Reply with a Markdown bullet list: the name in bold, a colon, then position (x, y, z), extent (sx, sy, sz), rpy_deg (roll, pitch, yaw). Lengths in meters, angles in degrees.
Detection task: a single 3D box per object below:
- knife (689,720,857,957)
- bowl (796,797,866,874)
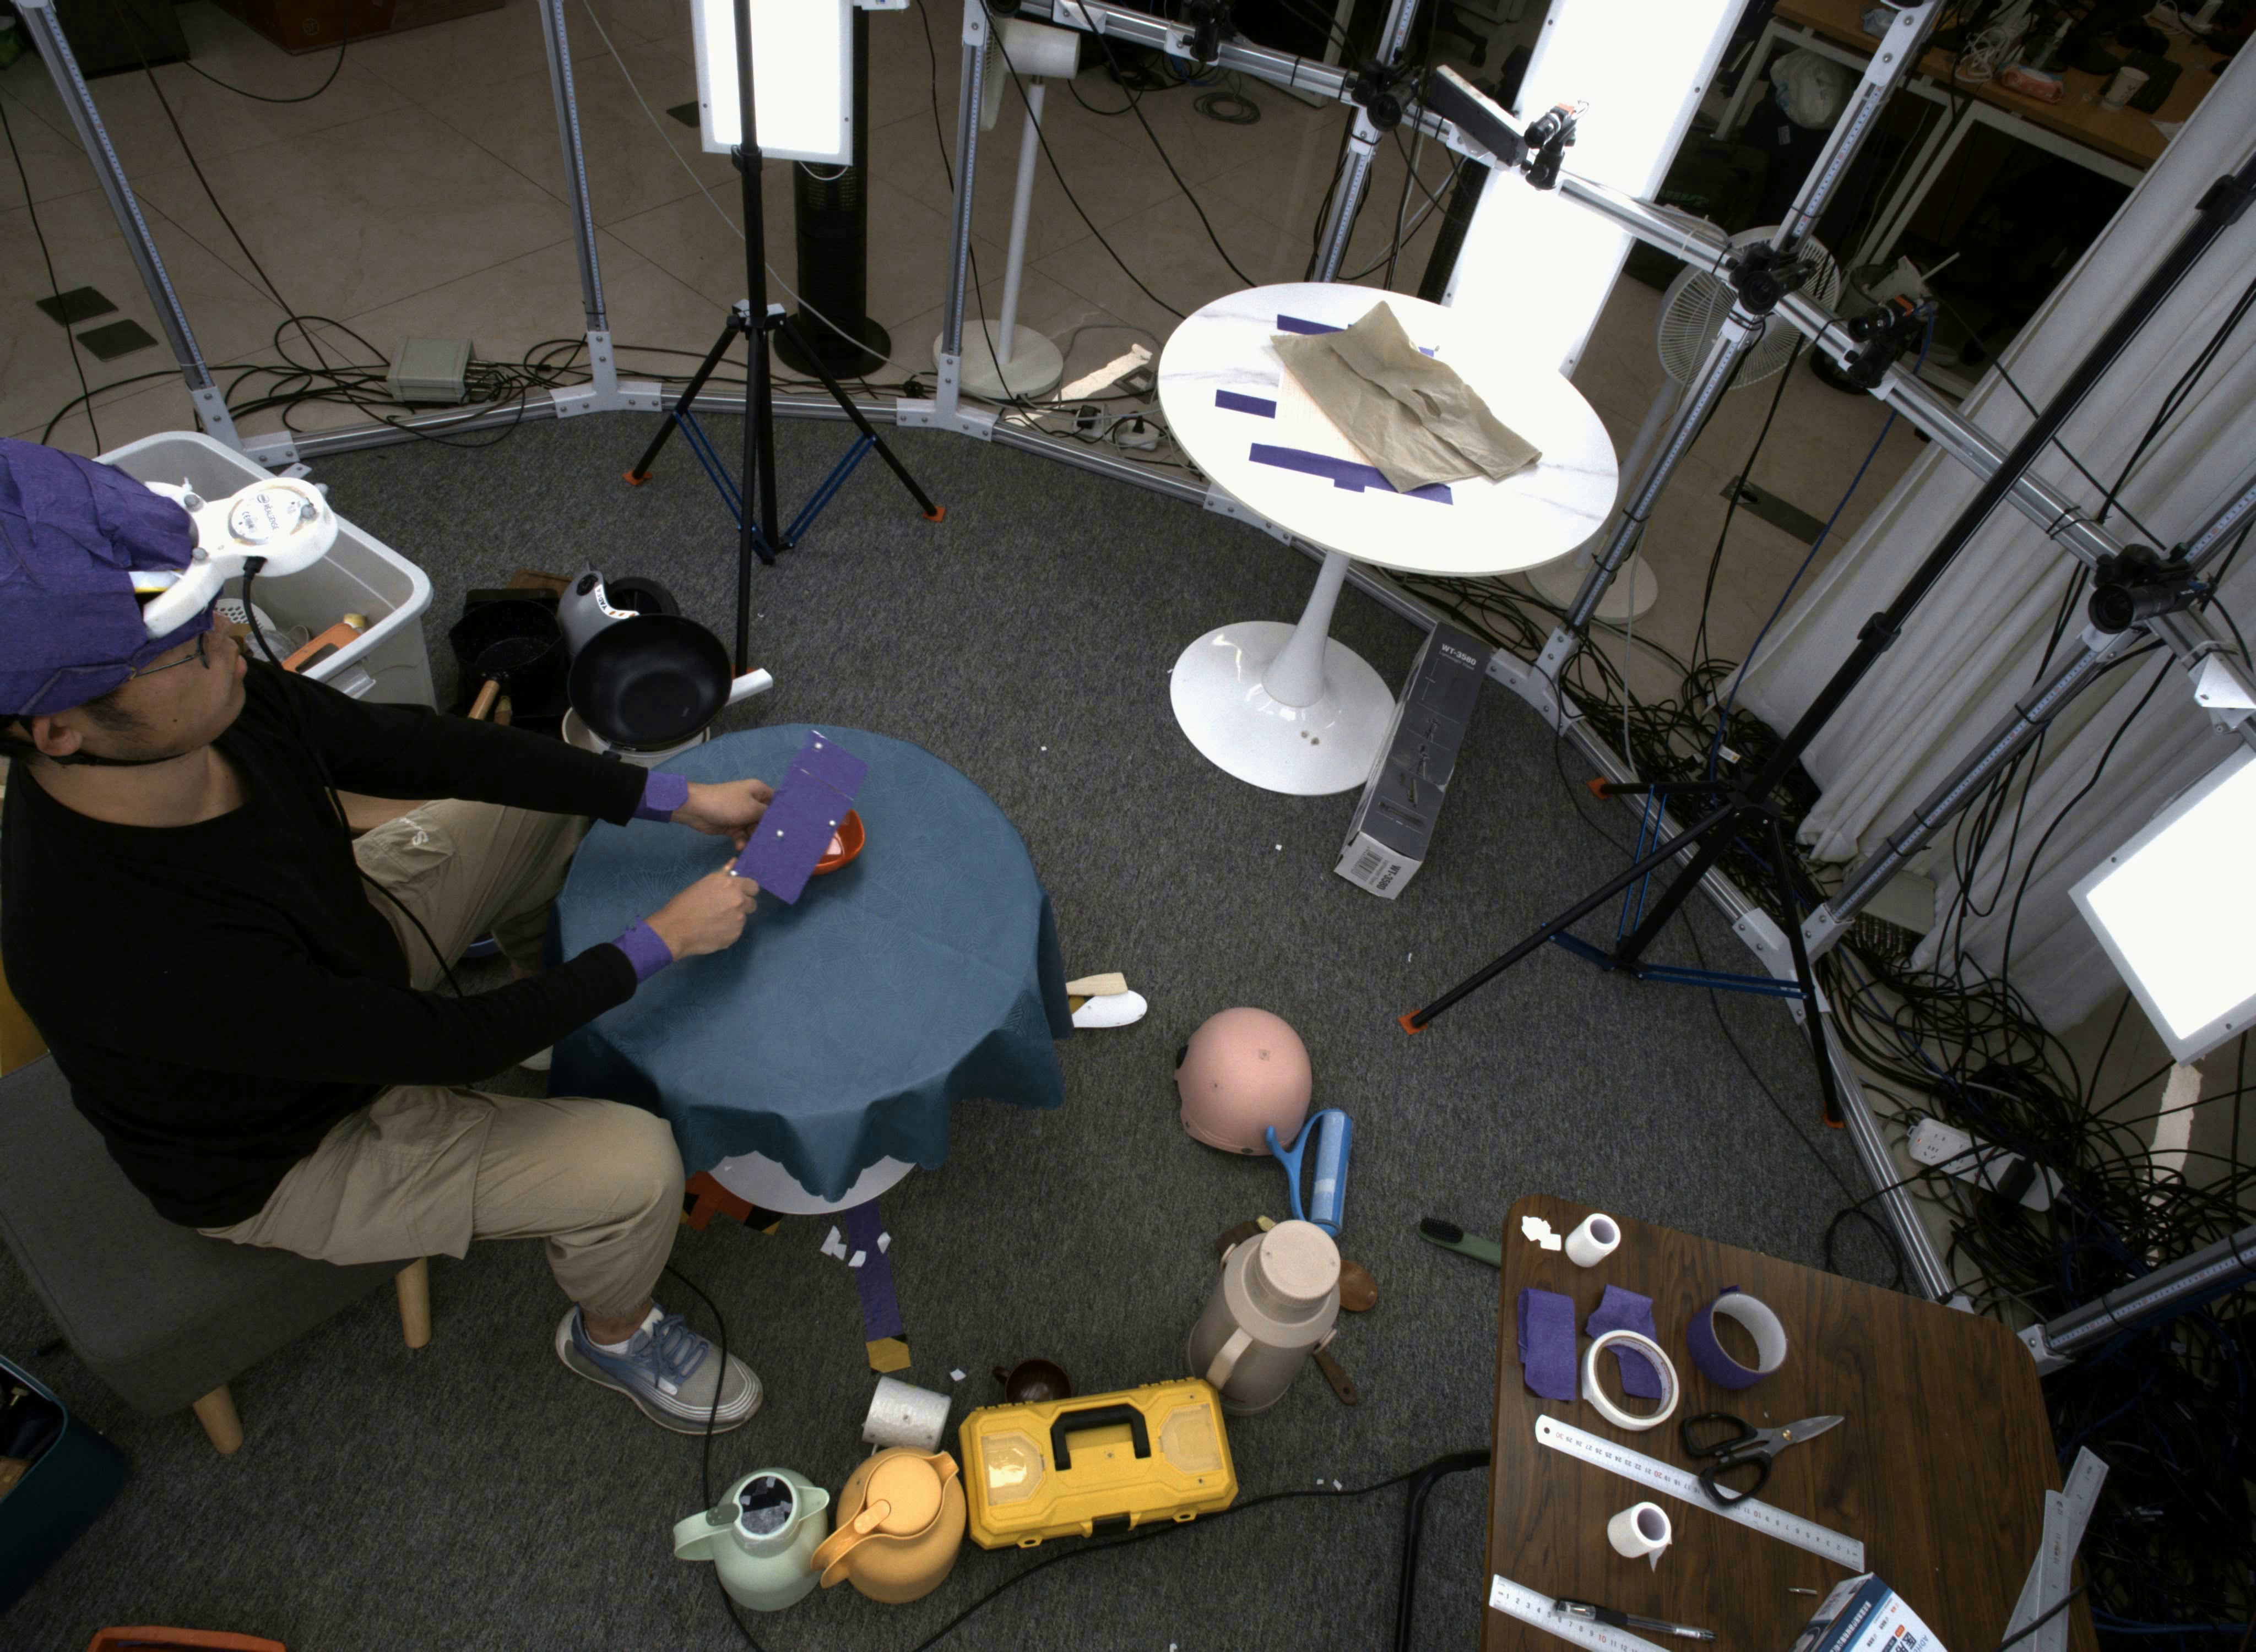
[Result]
- **knife**: position (-0.430, 0.027, 1.599), extent (0.107, 0.031, 0.315), rpy_deg (33, 71, -29)
- **bowl**: position (-0.399, 0.016, 1.679), extent (0.119, 0.052, 0.117), rpy_deg (10, 52, -11)
